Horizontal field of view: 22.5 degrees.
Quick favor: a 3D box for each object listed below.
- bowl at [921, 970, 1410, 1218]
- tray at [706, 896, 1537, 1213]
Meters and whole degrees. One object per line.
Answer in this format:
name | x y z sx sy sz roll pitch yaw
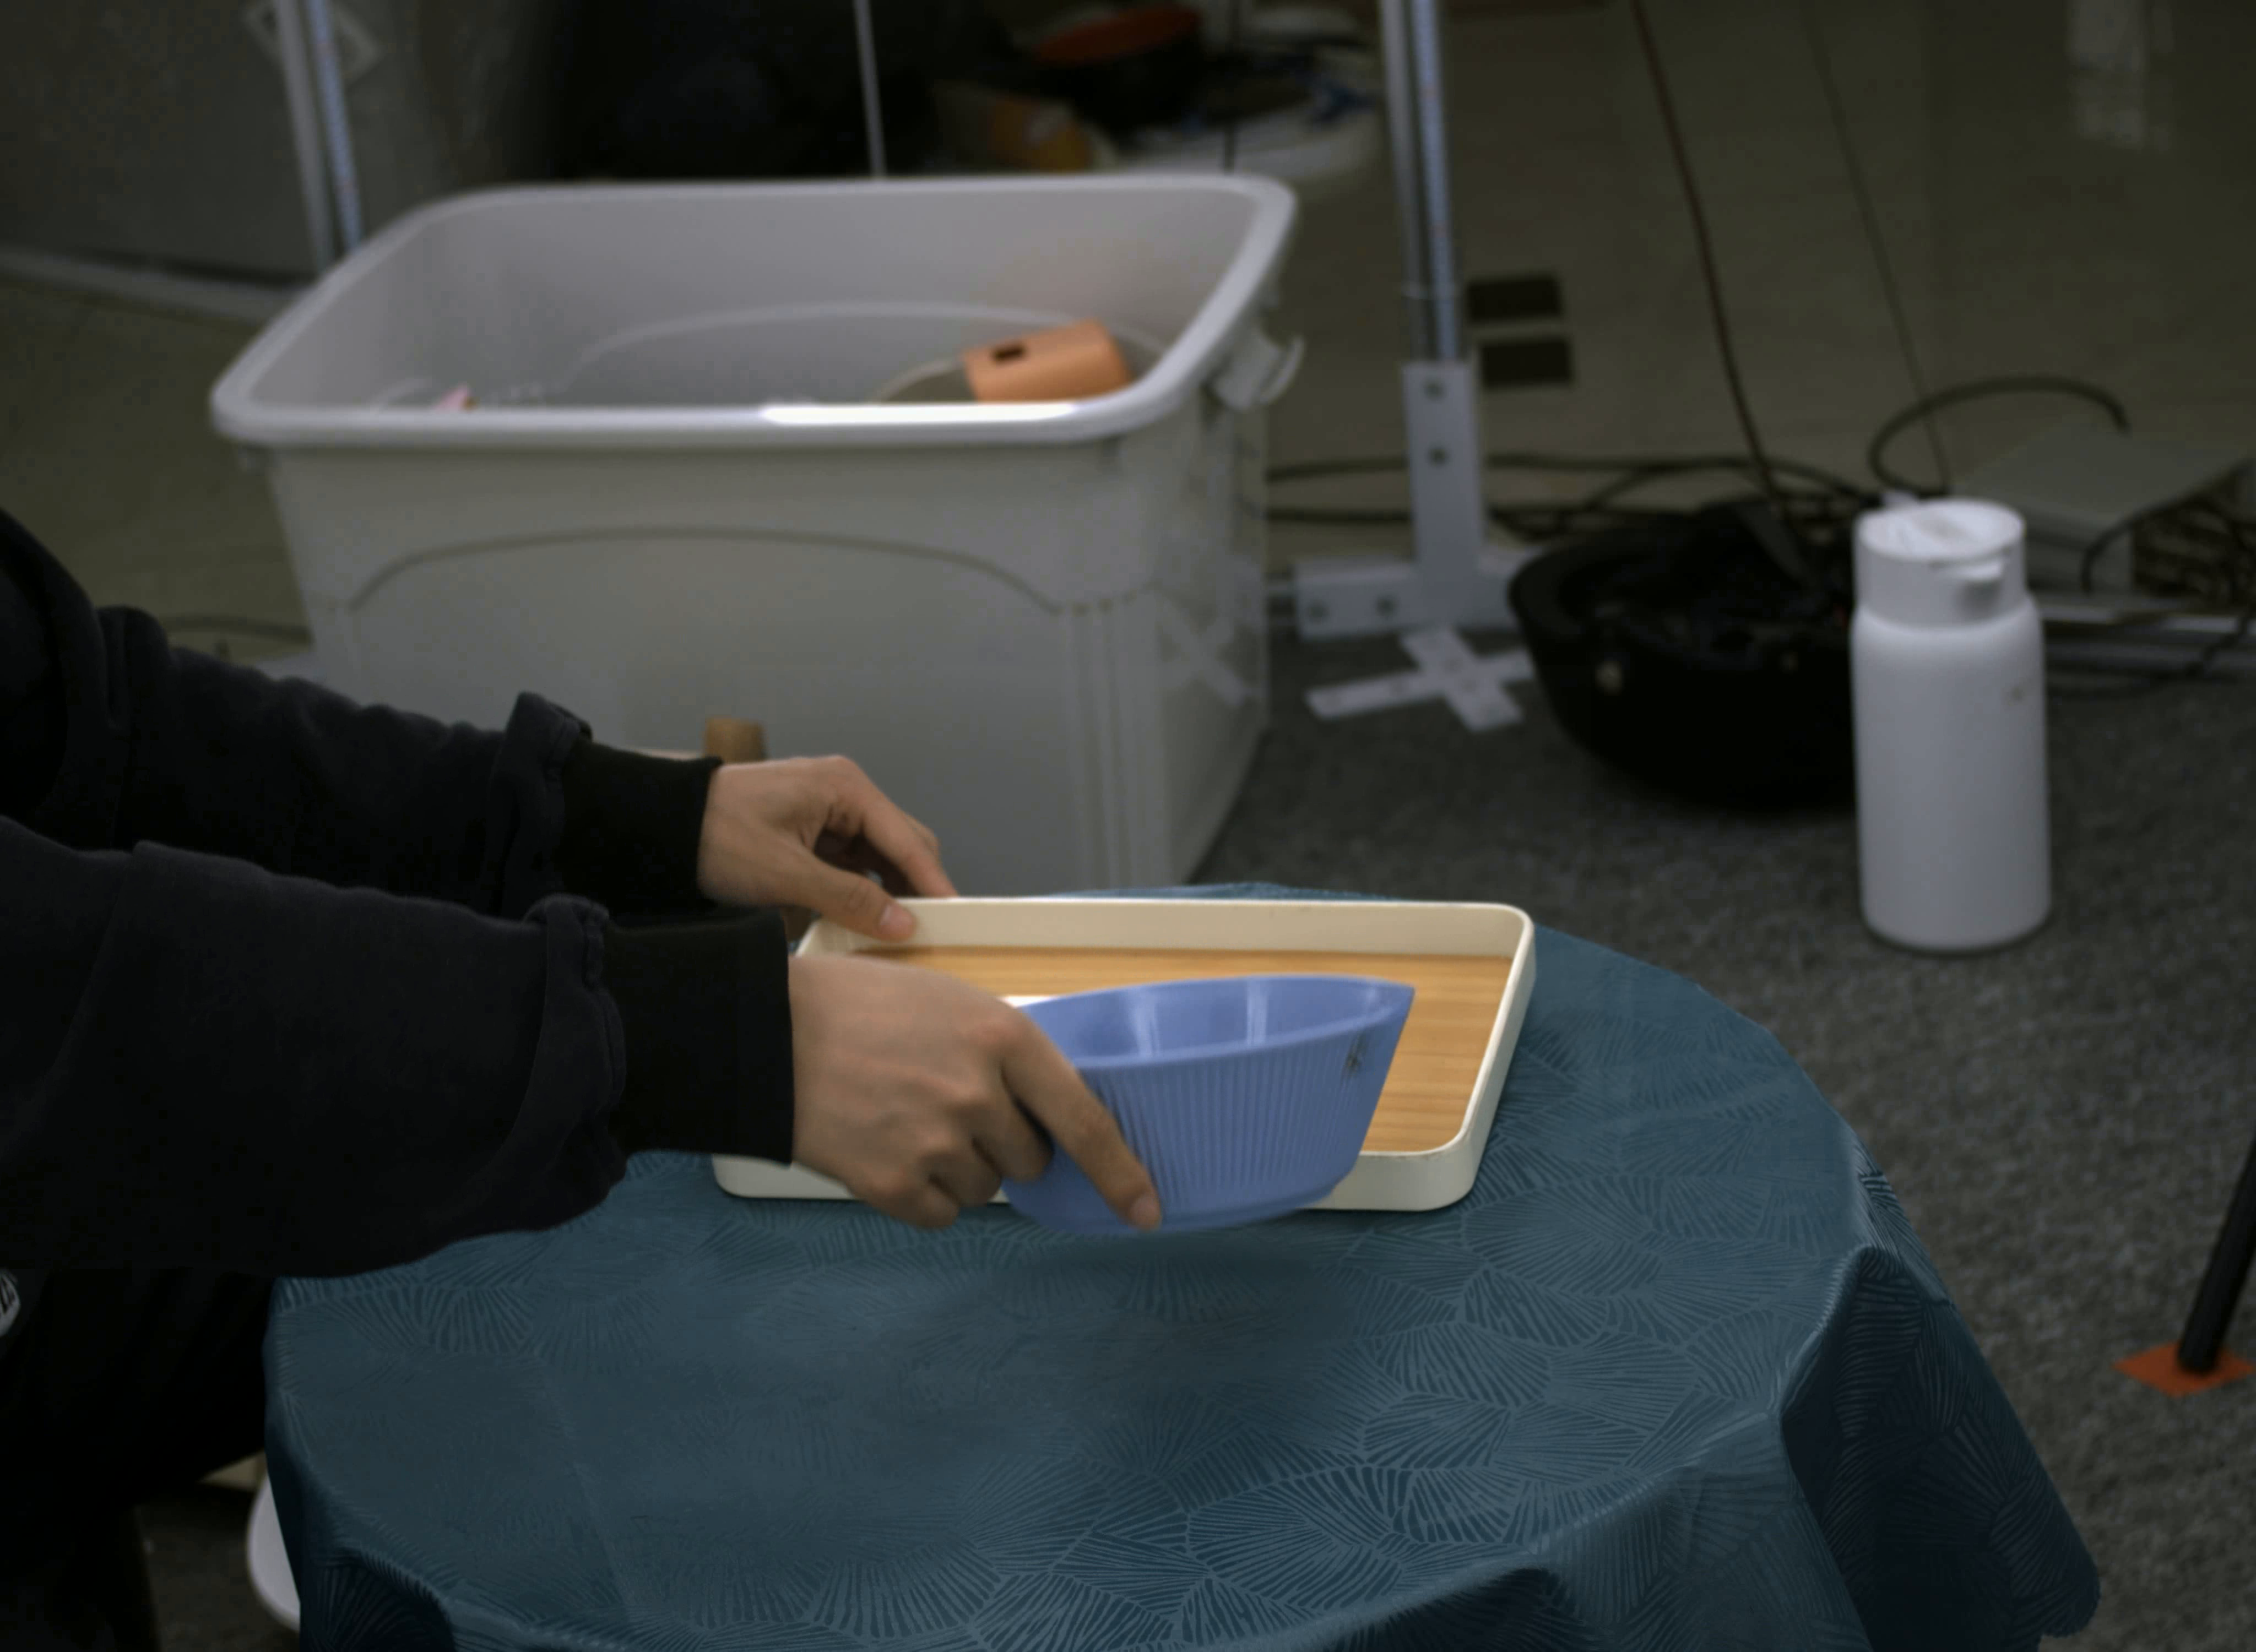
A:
bowl | 0.016 0.096 2.012 0.176 0.070 0.175 -6 5 1
tray | 0.000 0.087 2.216 0.299 0.028 0.188 1 30 14
